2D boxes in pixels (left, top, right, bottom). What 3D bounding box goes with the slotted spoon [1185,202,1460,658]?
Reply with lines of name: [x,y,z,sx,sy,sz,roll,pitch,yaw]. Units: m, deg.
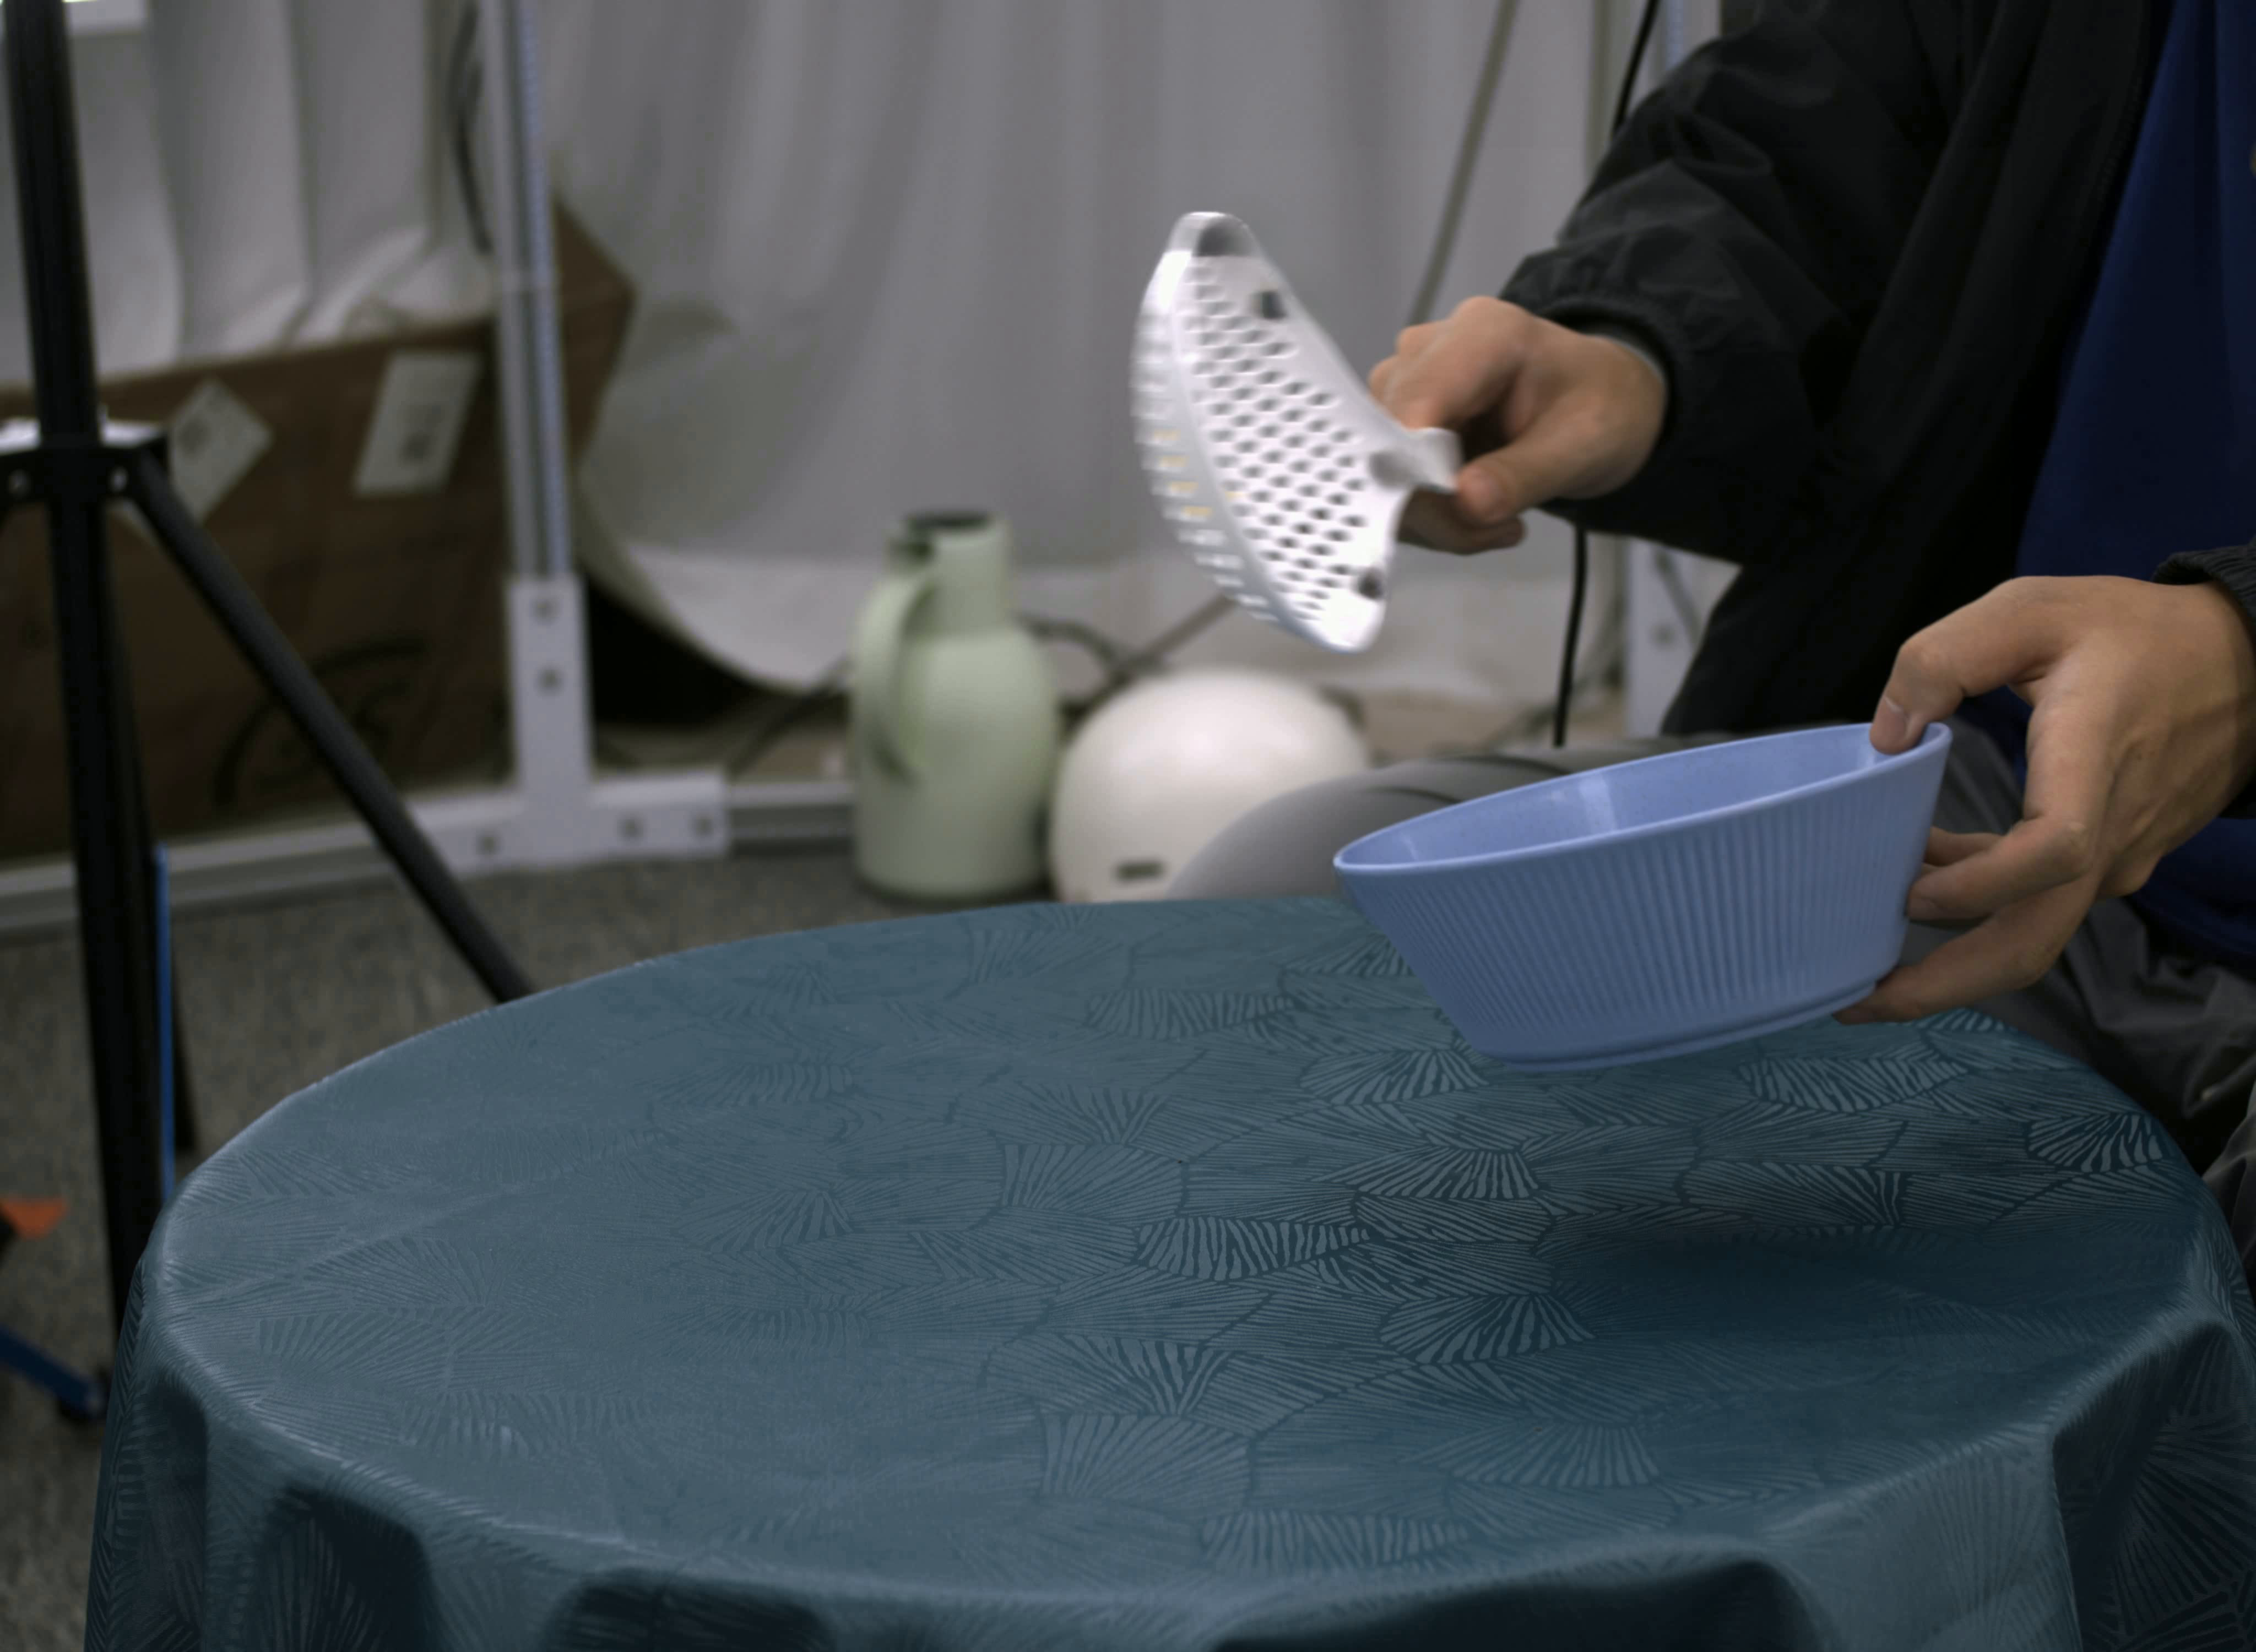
slotted spoon: [0.074,-0.112,1.626,0.051,0.137,0.343,-21,-3,18]

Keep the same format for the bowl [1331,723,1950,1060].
bowl: [0.149,0.021,1.484,0.175,0.070,0.176,-12,5,-1]
